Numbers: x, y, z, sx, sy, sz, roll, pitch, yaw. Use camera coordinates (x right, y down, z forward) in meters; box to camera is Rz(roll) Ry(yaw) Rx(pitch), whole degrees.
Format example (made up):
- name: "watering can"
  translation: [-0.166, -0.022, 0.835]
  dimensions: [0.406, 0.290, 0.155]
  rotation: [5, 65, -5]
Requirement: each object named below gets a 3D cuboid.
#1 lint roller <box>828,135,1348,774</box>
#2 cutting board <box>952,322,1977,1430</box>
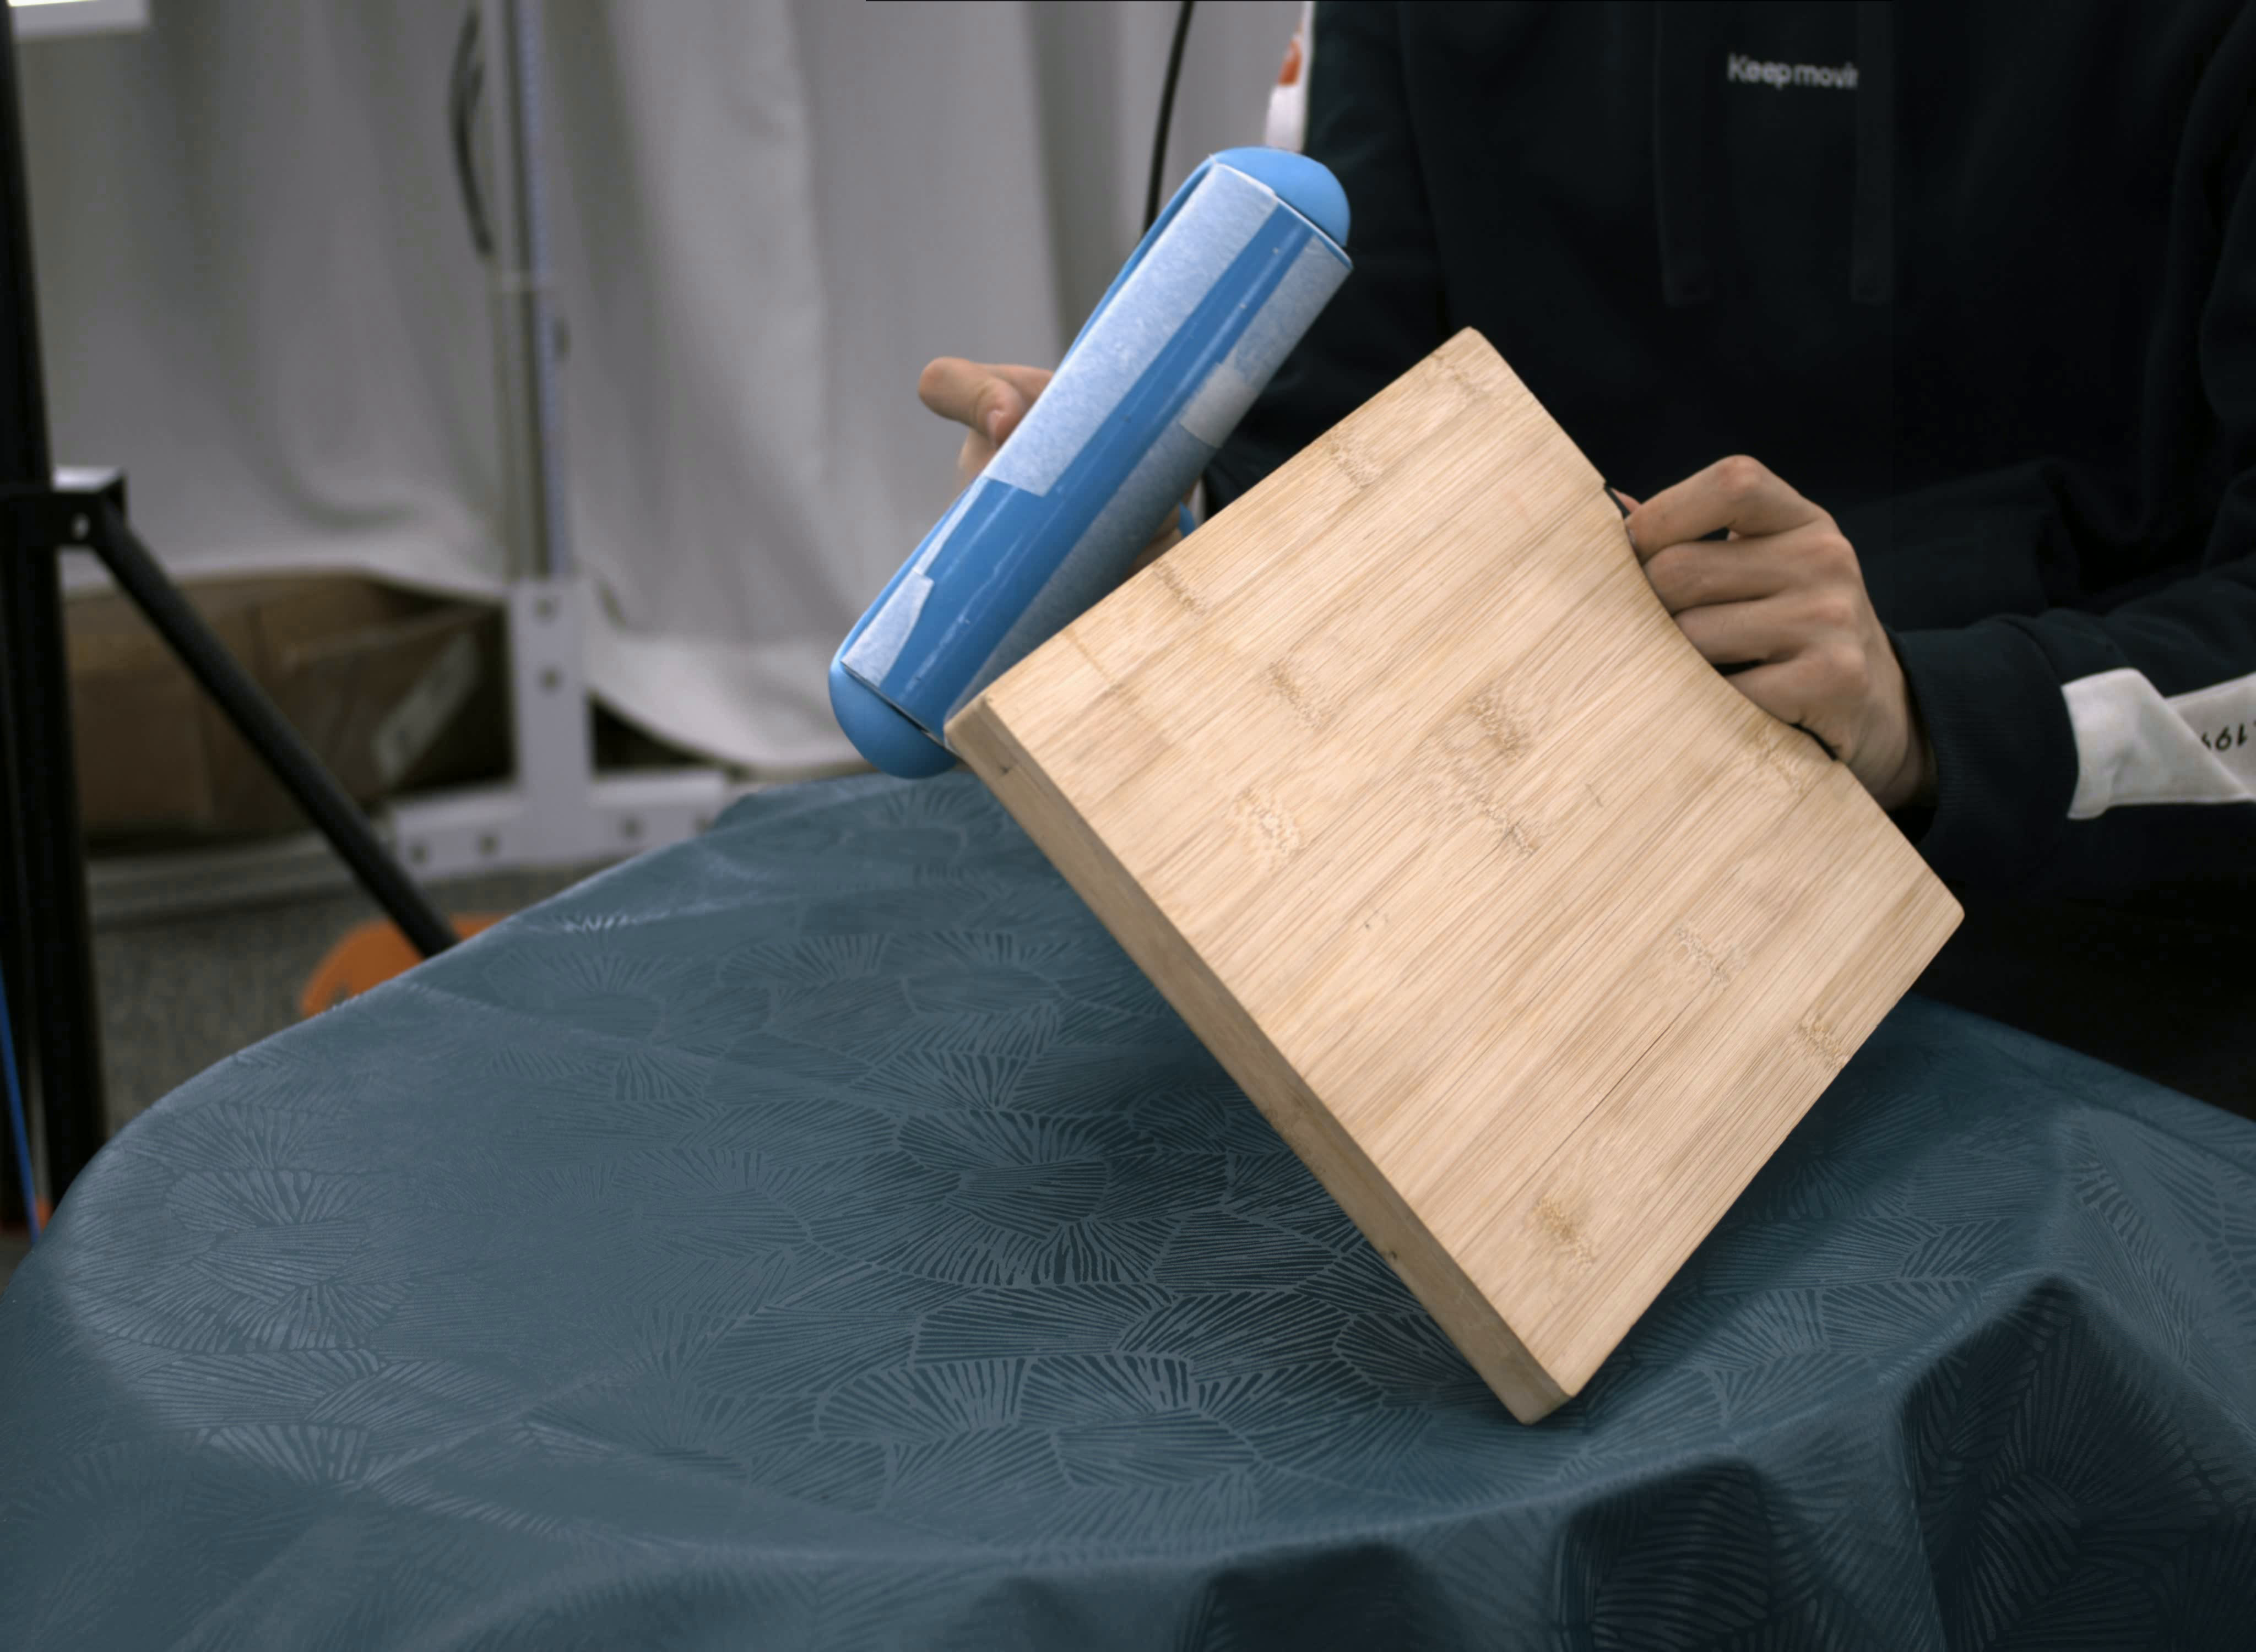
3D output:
- name: "lint roller"
  translation: [-0.010, -0.107, 1.683]
  dimensions: [0.068, 0.229, 0.179]
  rotation: [35, -3, 4]
- name: "cutting board"
  translation: [0.107, 0.001, 1.510]
  dimensions: [0.024, 0.251, 0.344]
  rotation: [-41, -1, 34]
